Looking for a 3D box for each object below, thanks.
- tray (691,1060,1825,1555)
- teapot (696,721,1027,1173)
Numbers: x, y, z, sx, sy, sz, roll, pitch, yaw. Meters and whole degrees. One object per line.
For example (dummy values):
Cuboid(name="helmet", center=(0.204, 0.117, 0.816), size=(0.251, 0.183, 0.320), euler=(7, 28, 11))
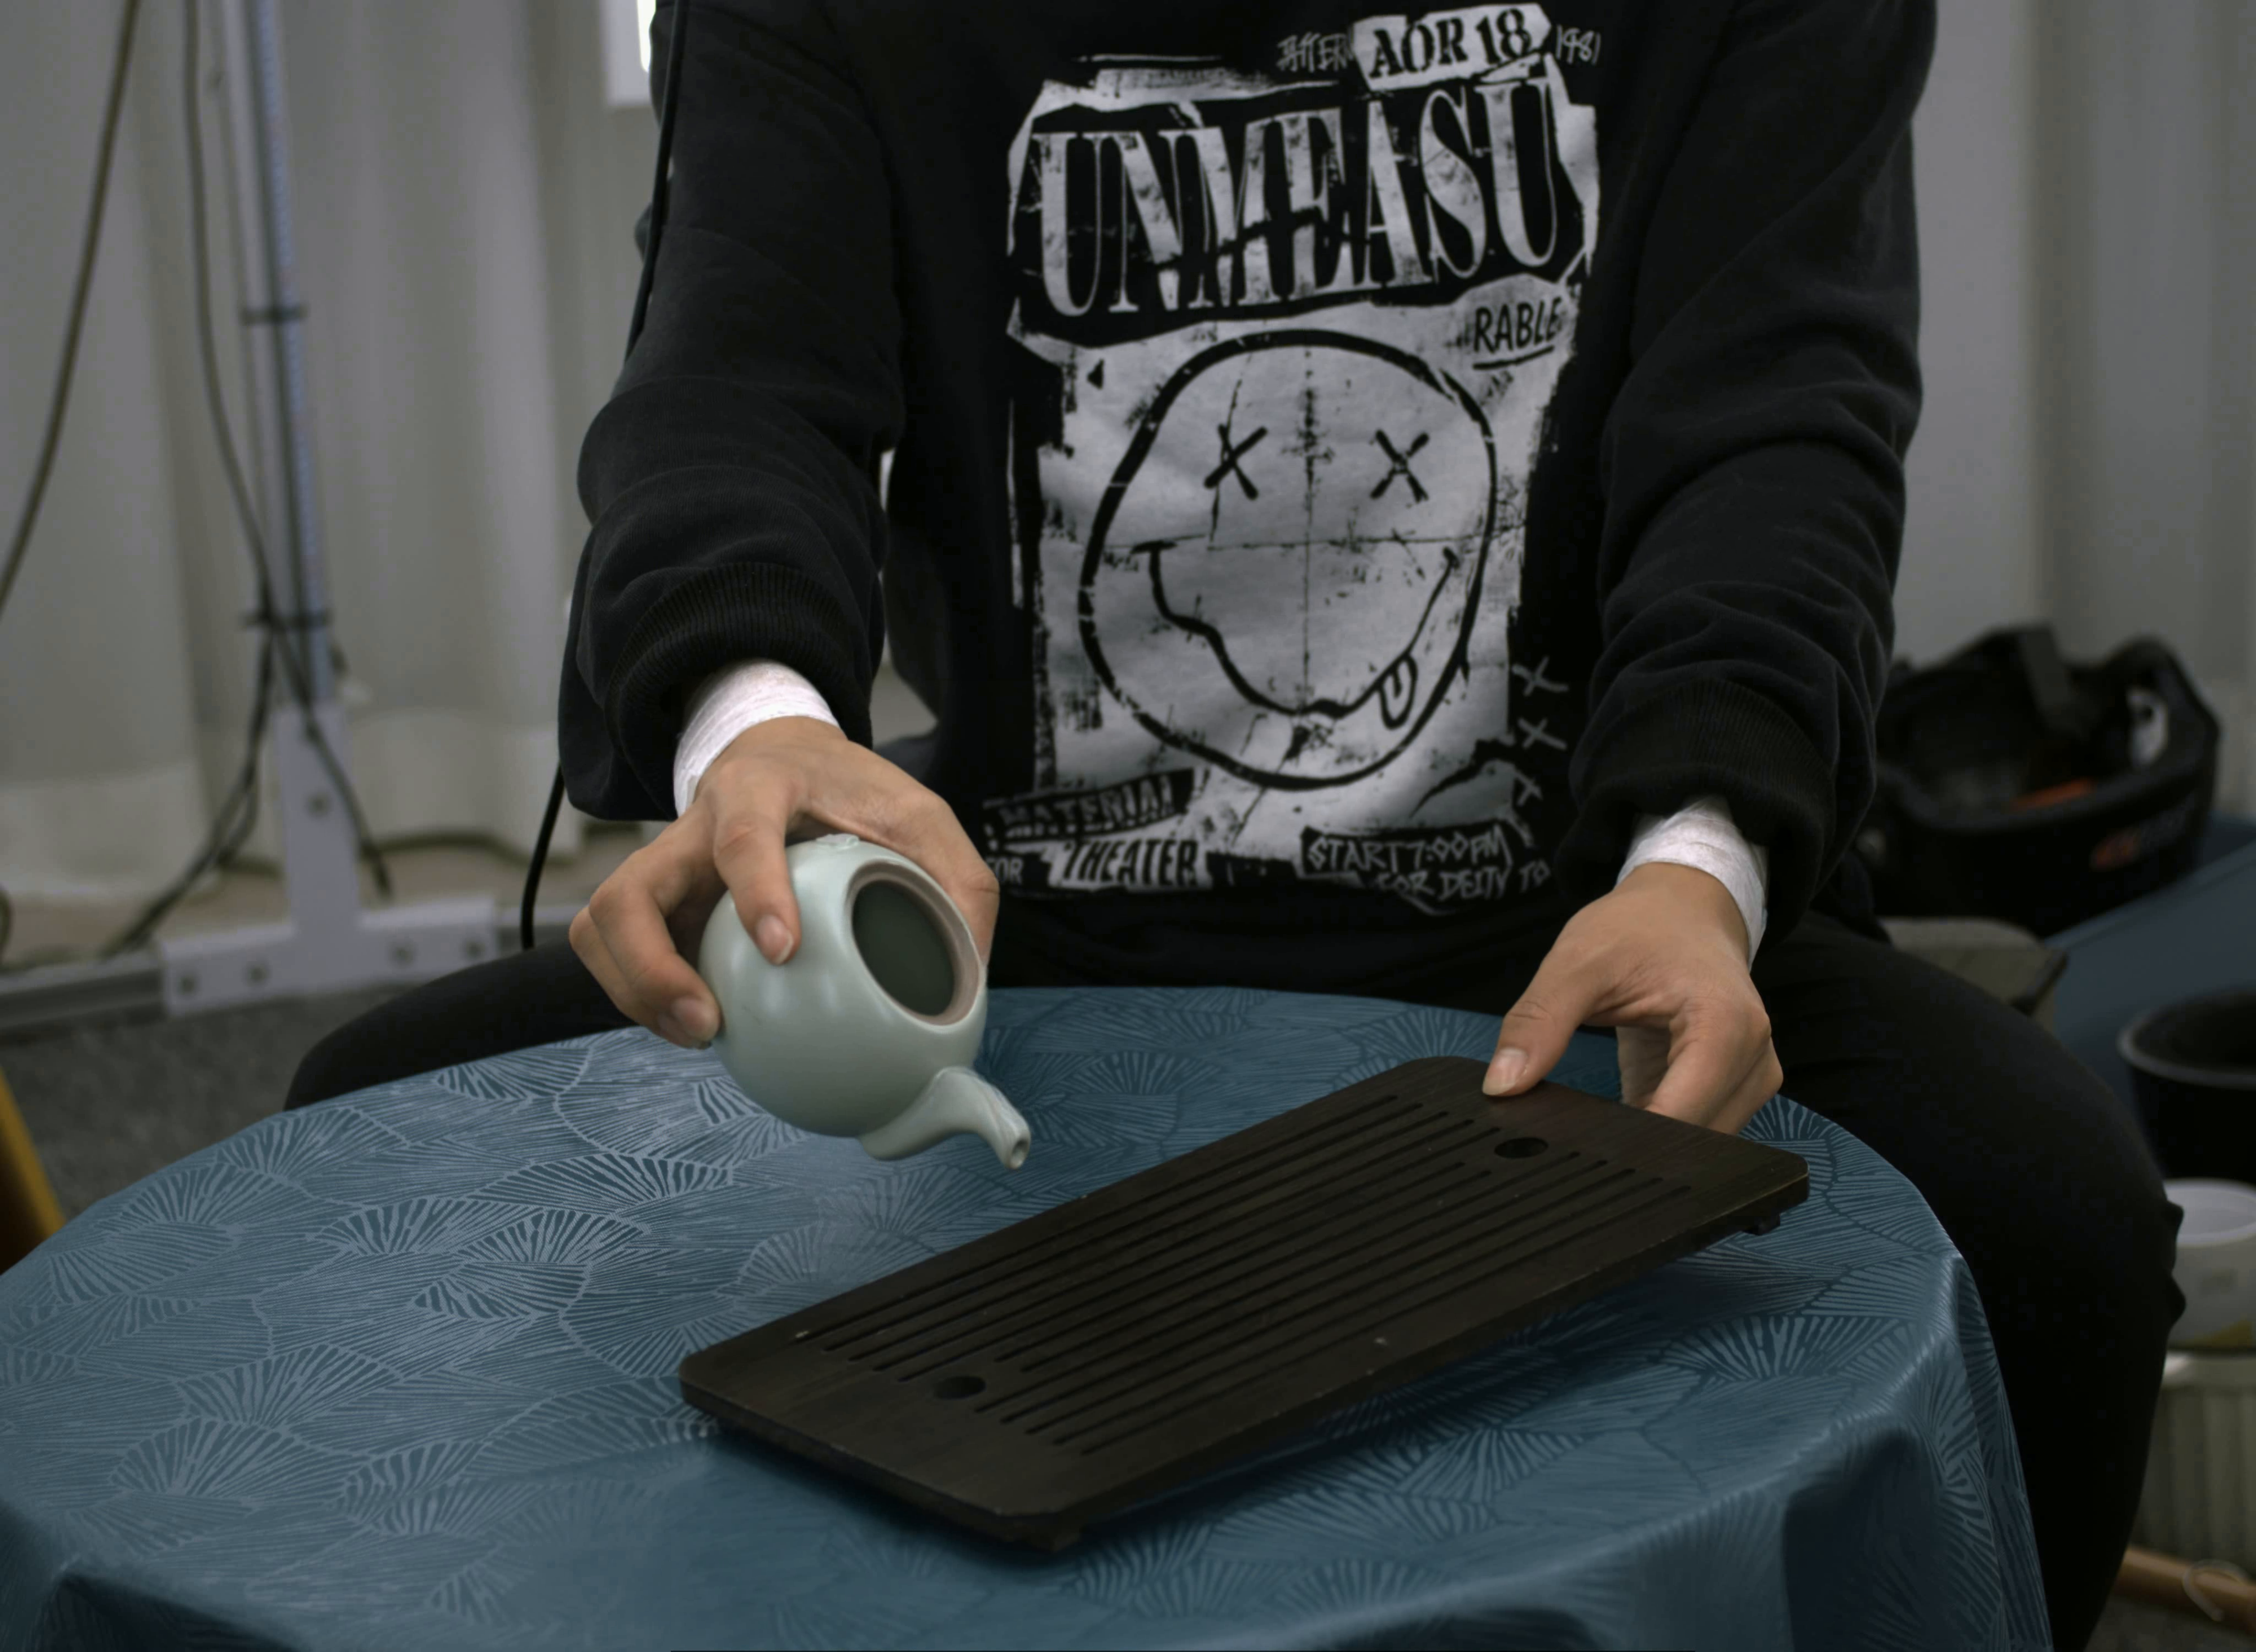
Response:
Cuboid(name="tray", center=(0.040, 0.134, 1.561), size=(0.305, 0.018, 0.171), euler=(-19, 21, -36))
Cuboid(name="teapot", center=(-0.083, 0.046, 1.594), size=(0.074, 0.145, 0.088), euler=(-29, -11, 33))
